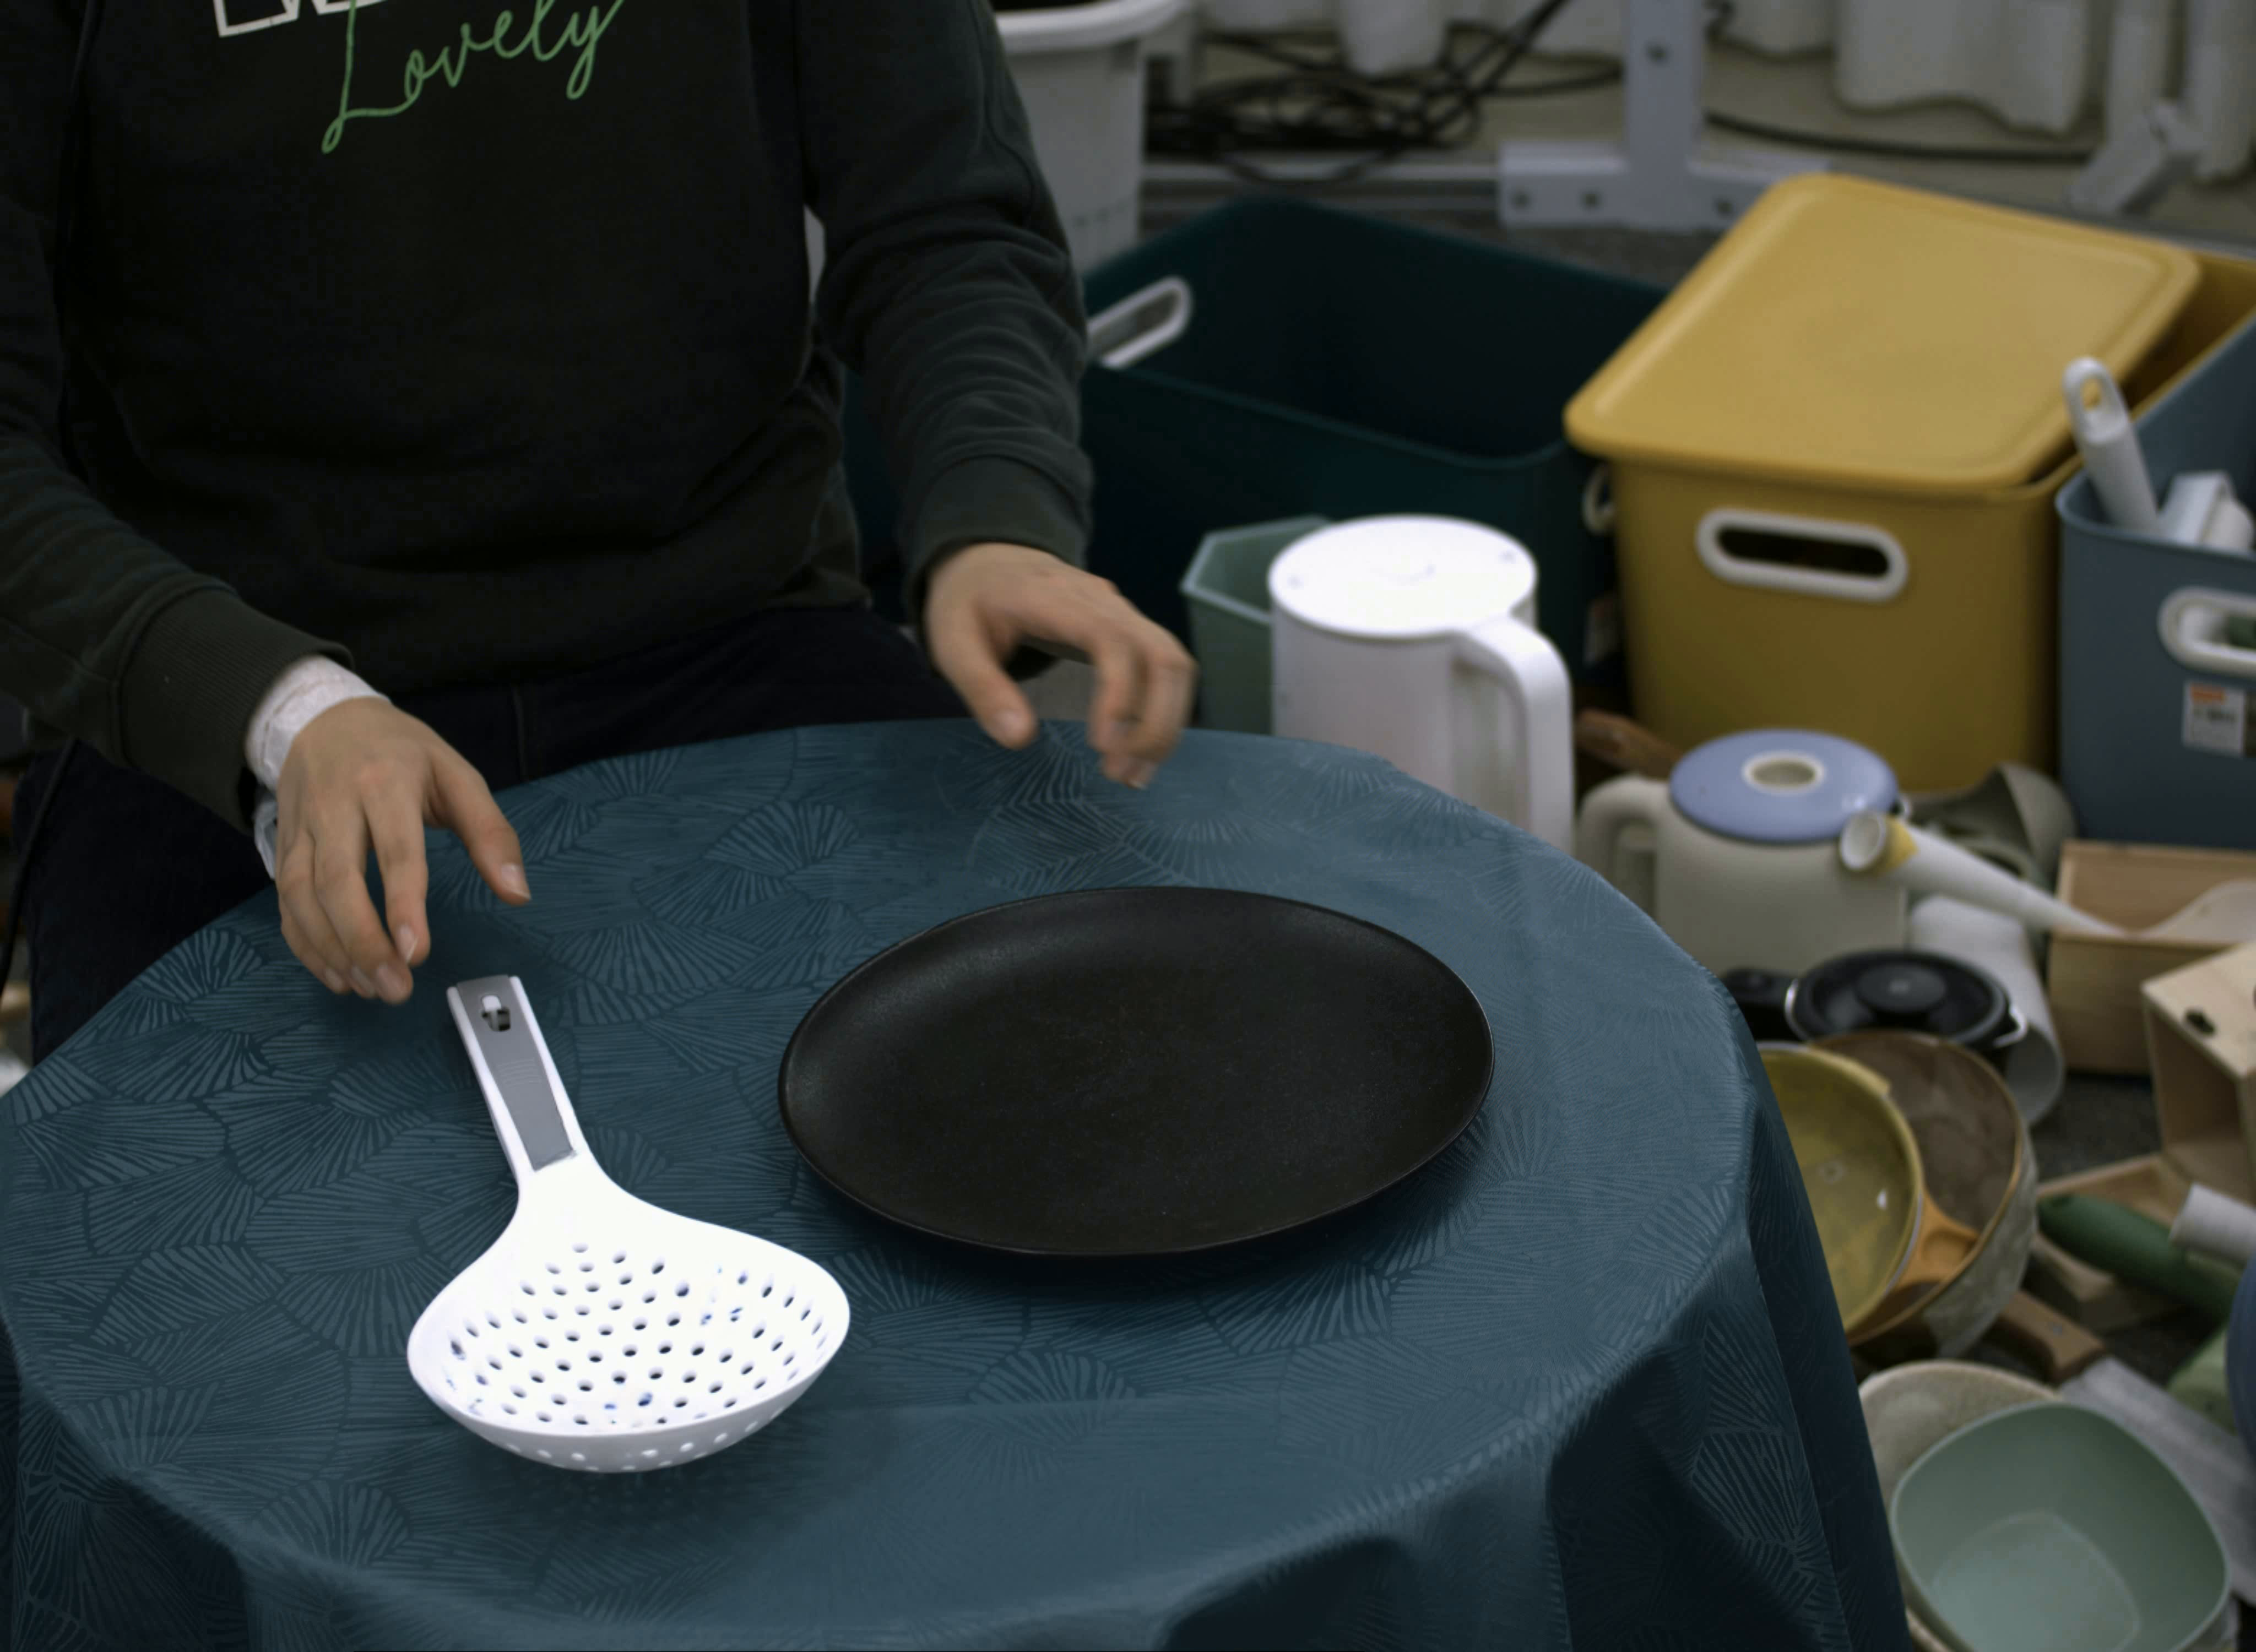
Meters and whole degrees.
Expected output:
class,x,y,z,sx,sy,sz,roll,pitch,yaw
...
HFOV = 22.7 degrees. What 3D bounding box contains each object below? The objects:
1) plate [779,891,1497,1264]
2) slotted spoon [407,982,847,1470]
class,x,y,z,sx,sy,sz,roll,pitch,yaw
plate,0.004,0.088,1.900,0.243,0.023,0.248,-2,27,2
slotted spoon,-0.182,0.124,1.827,0.136,0.045,0.353,-7,27,-13
